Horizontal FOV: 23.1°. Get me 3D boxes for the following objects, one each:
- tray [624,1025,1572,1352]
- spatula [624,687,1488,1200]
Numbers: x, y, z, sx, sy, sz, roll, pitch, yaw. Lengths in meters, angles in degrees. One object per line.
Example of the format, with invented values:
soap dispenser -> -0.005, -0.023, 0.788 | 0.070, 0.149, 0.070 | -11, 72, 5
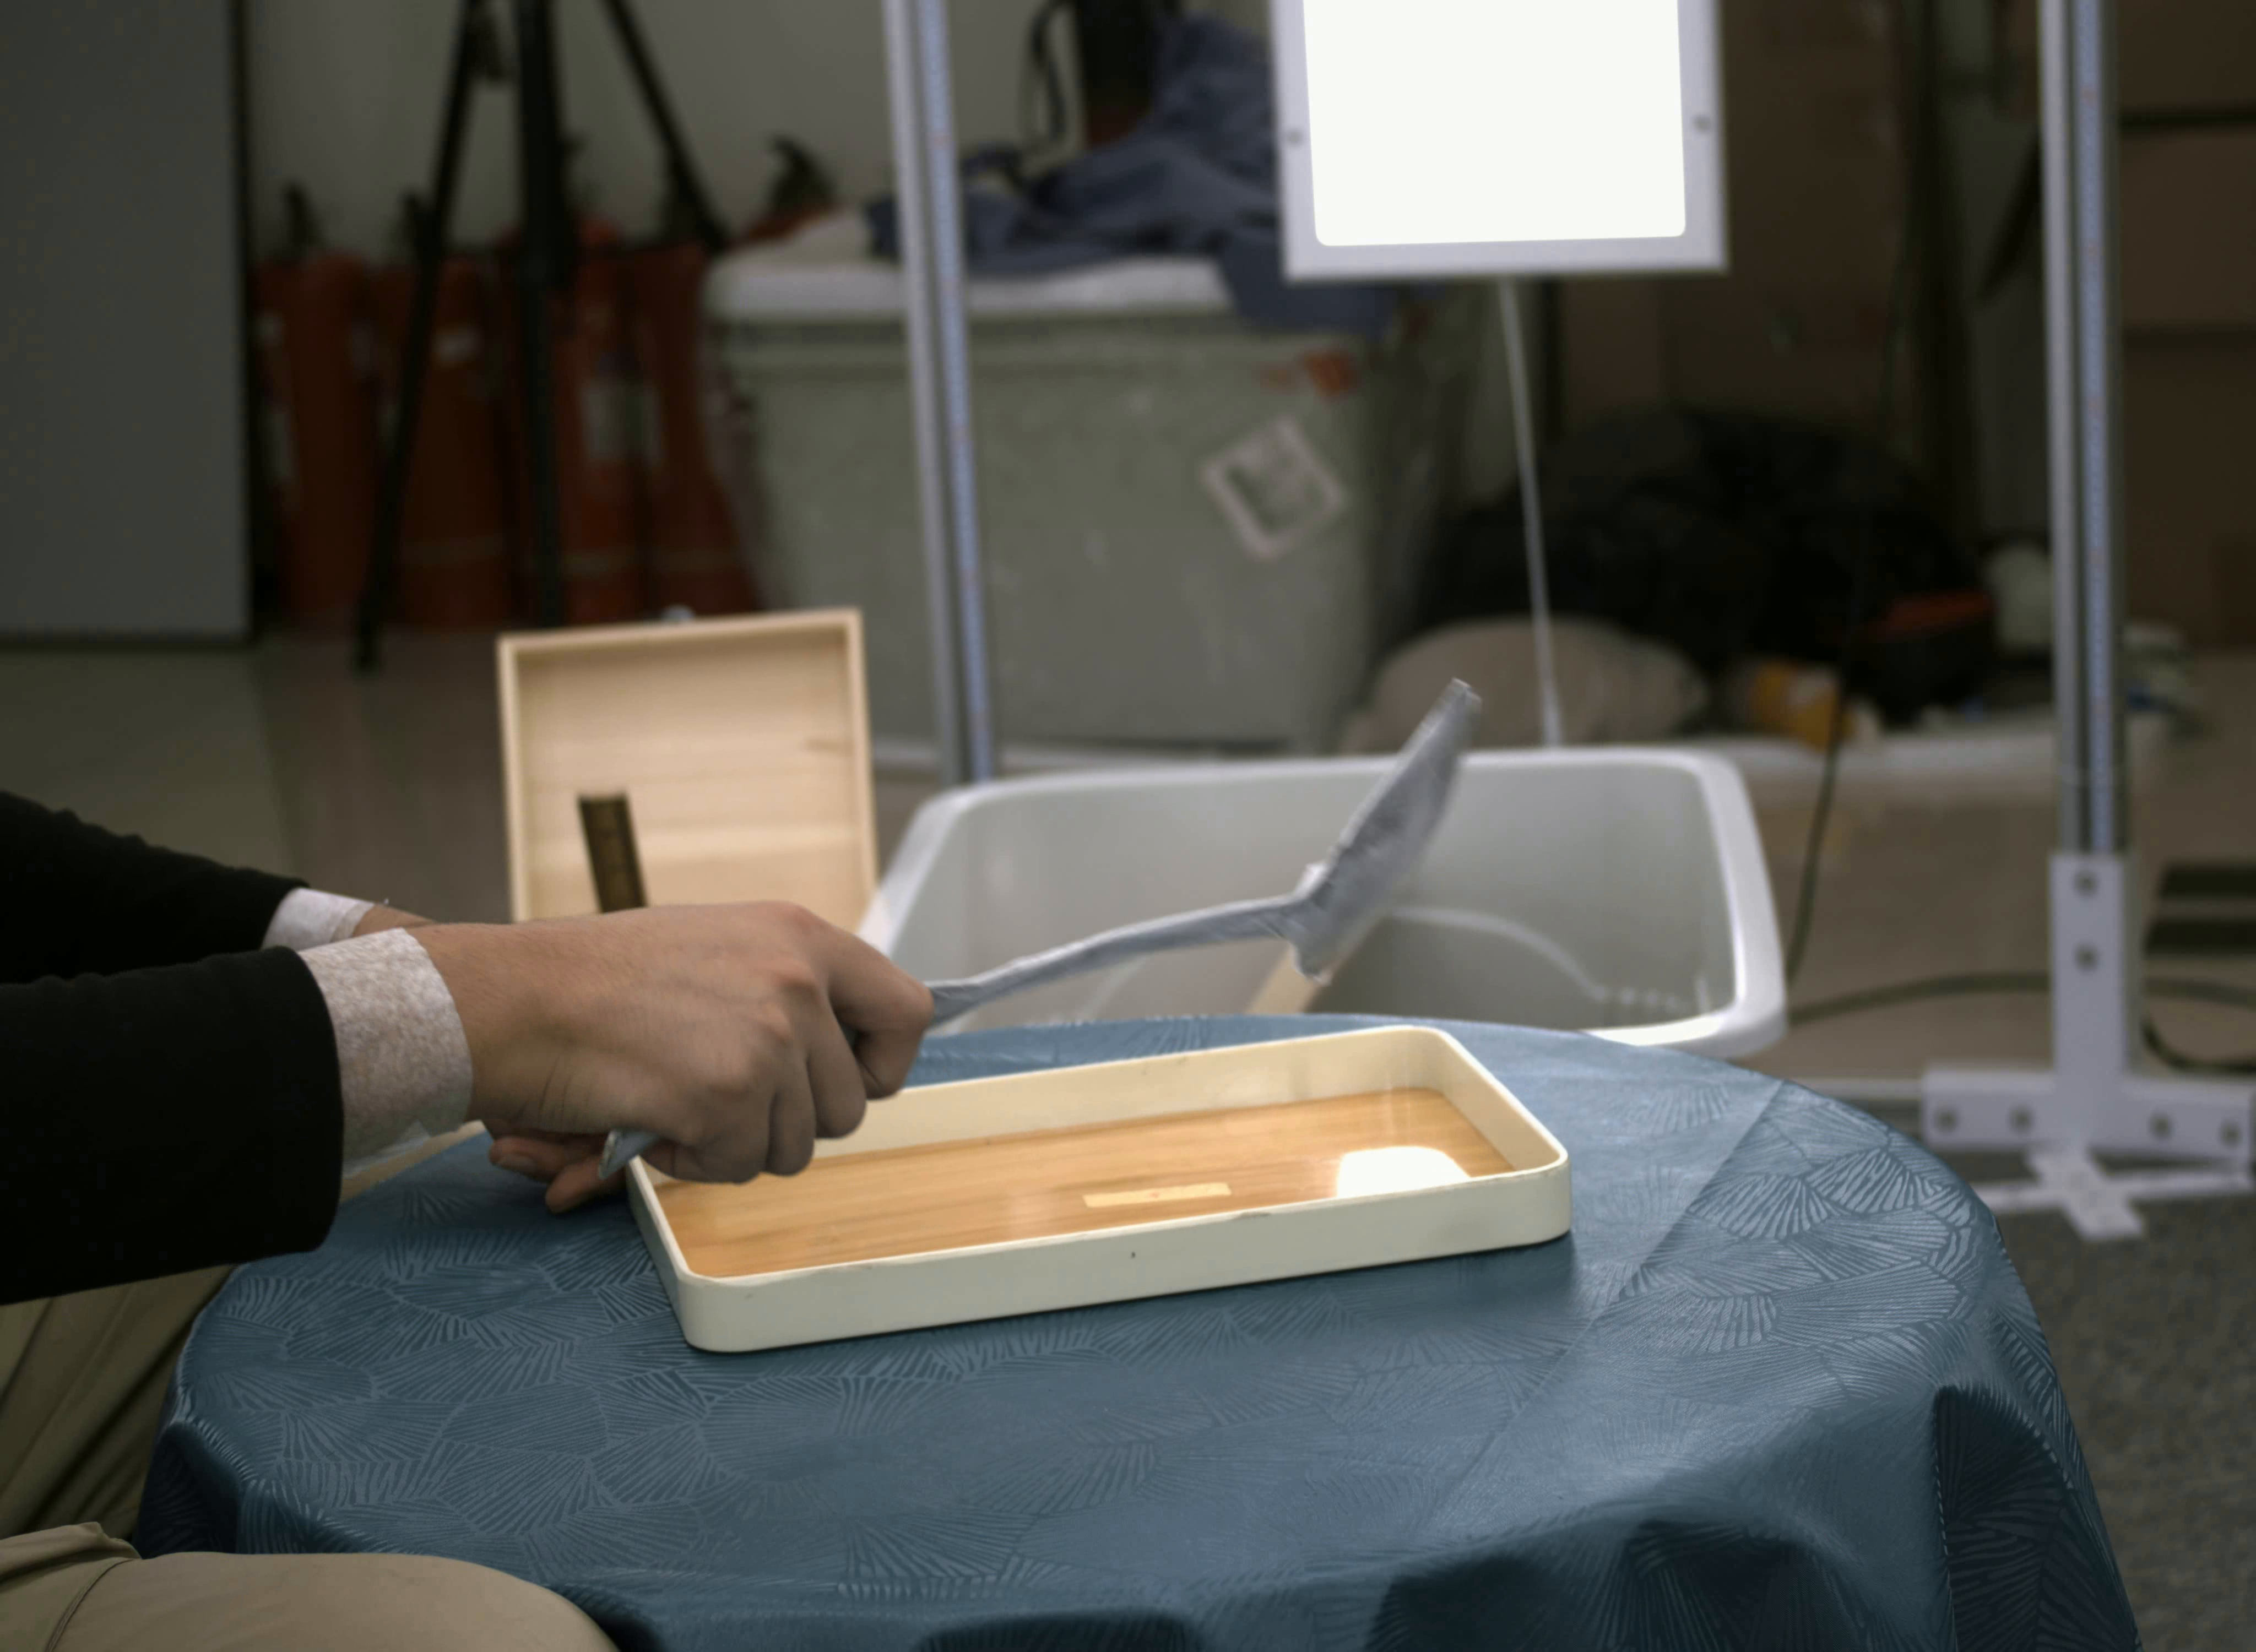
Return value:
tray -> -0.014, 0.121, 1.870 | 0.297, 0.027, 0.192 | -7, 14, -8
spatula -> -0.015, 0.042, 1.699 | 0.356, 0.100, 0.045 | -17, 51, -34
